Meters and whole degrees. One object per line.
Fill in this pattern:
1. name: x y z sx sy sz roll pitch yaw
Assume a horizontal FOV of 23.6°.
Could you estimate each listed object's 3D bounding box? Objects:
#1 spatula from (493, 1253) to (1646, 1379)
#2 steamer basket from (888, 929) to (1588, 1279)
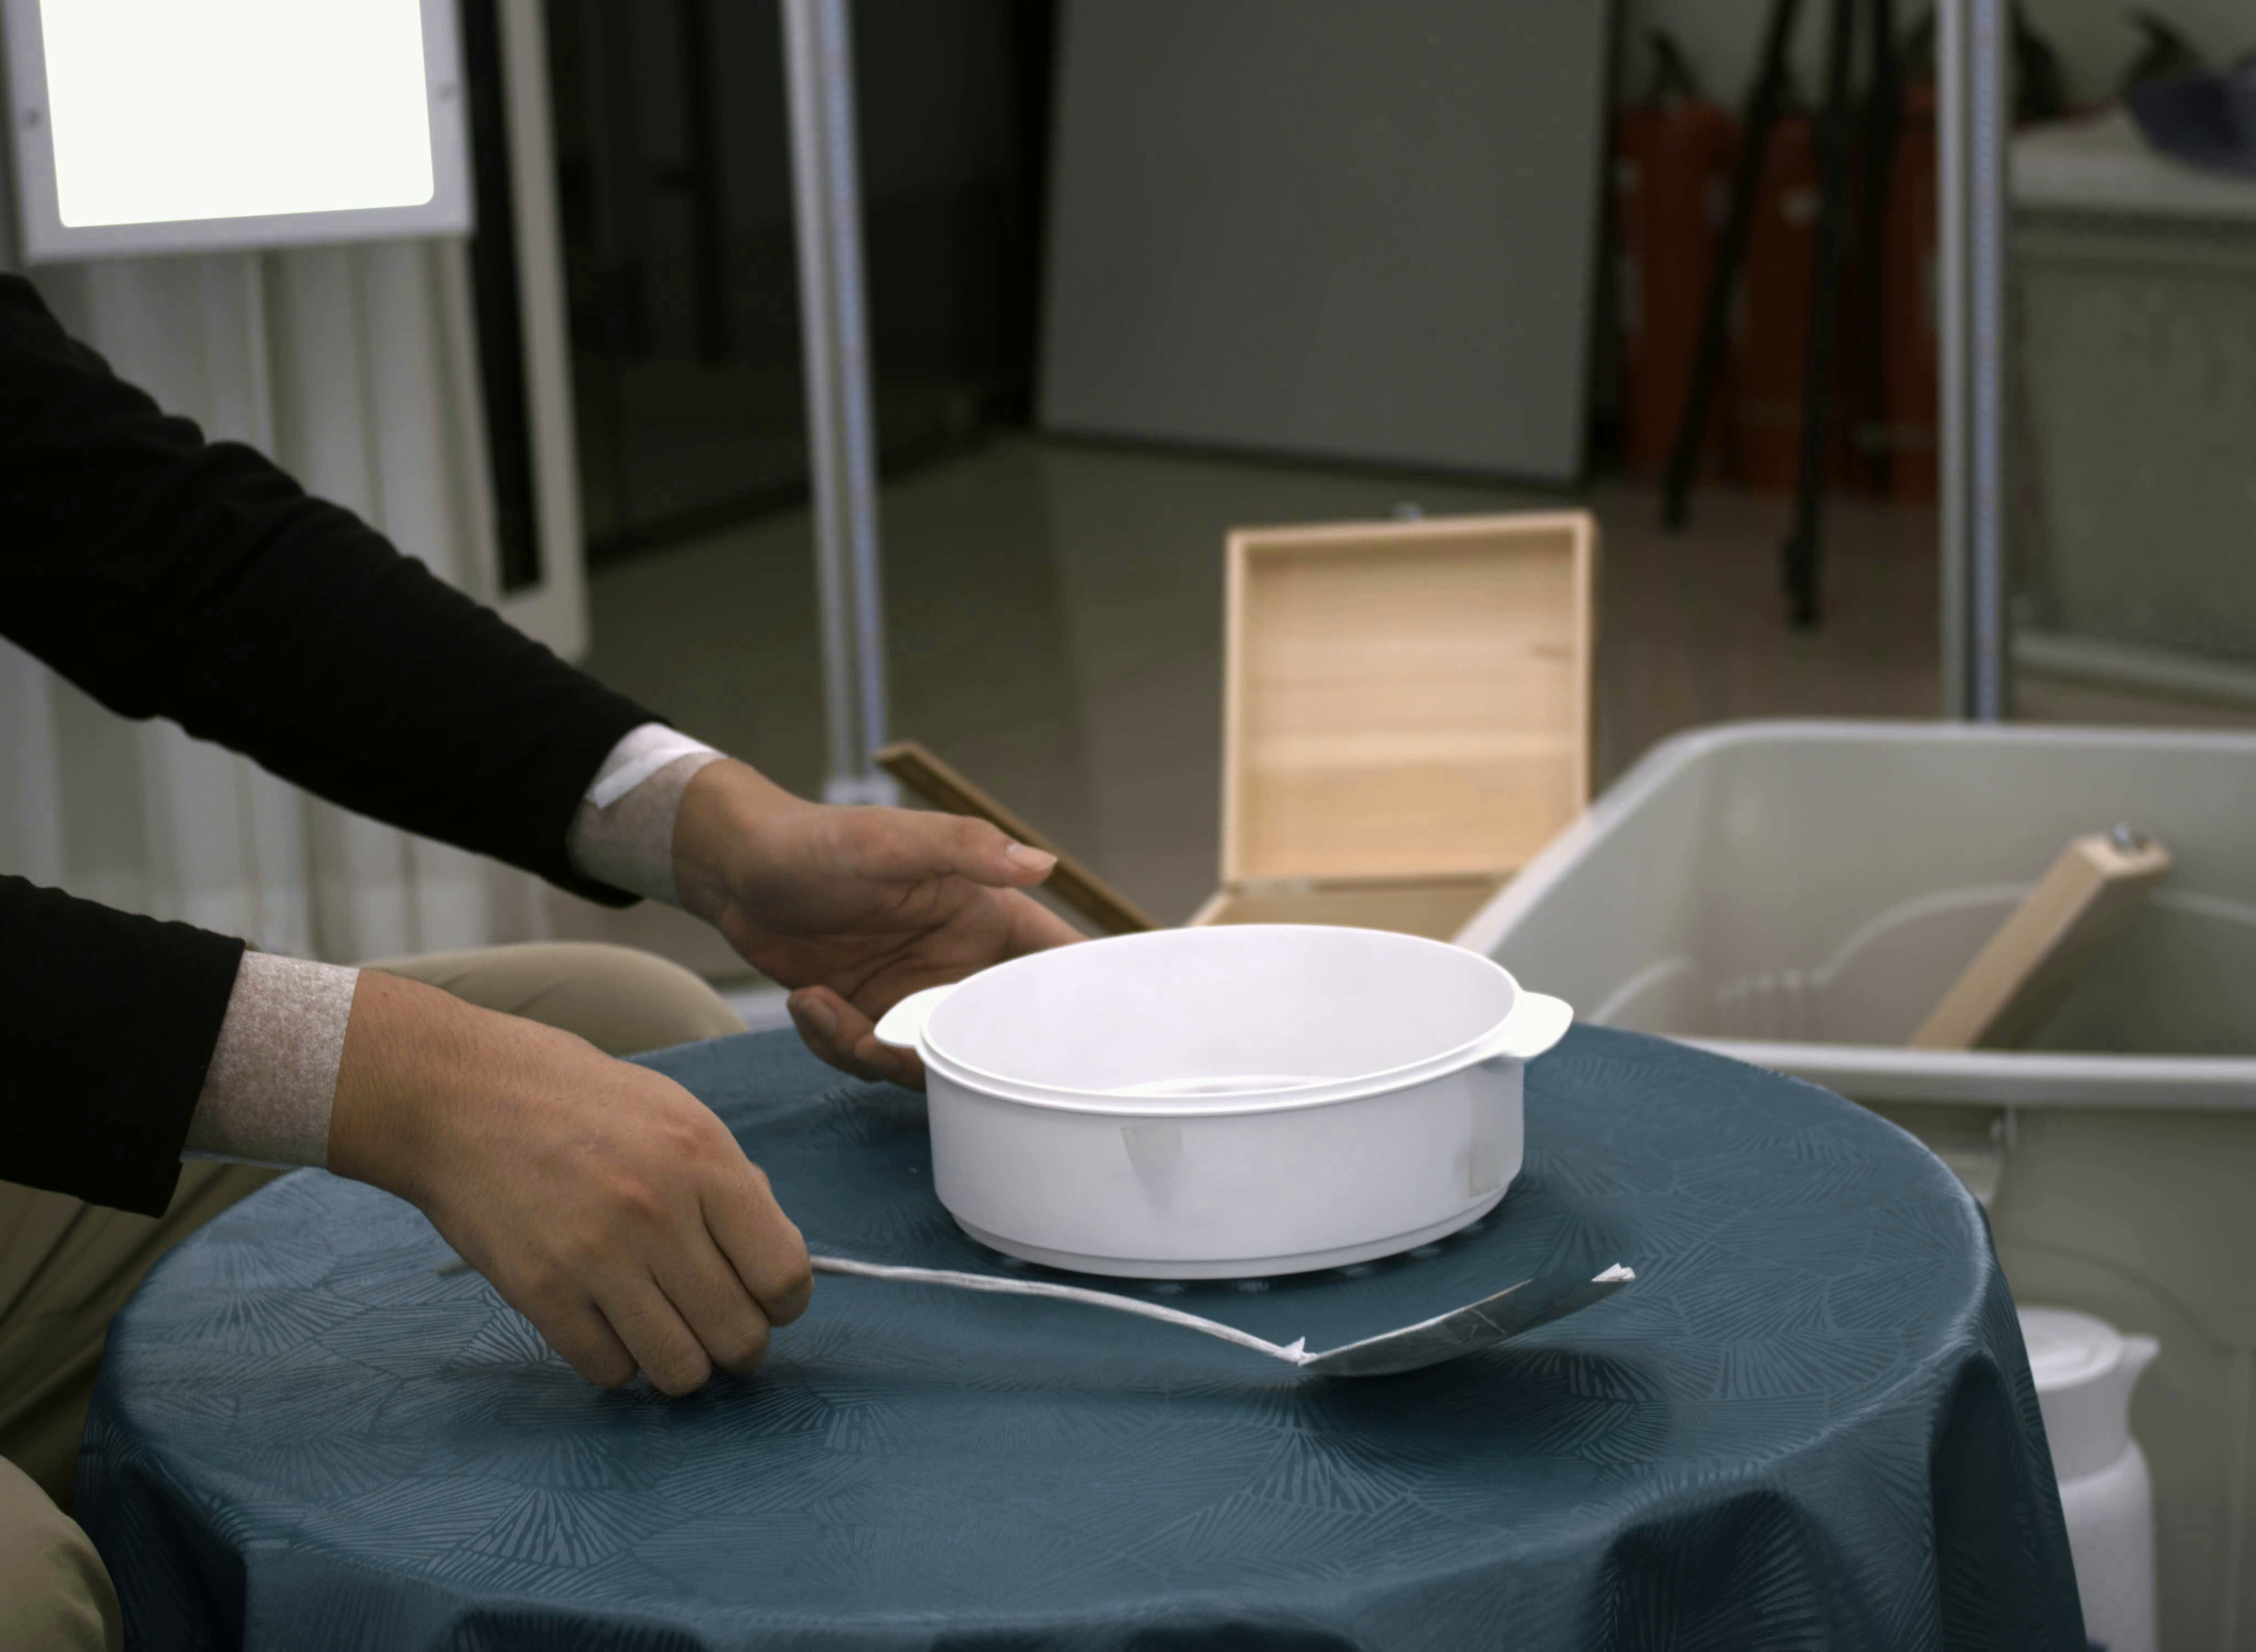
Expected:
1. spatula: -0.027 0.136 1.601 0.364 0.045 0.097 4 0 19
2. steamer basket: 0.037 0.089 1.743 0.230 0.070 0.200 -1 13 17
